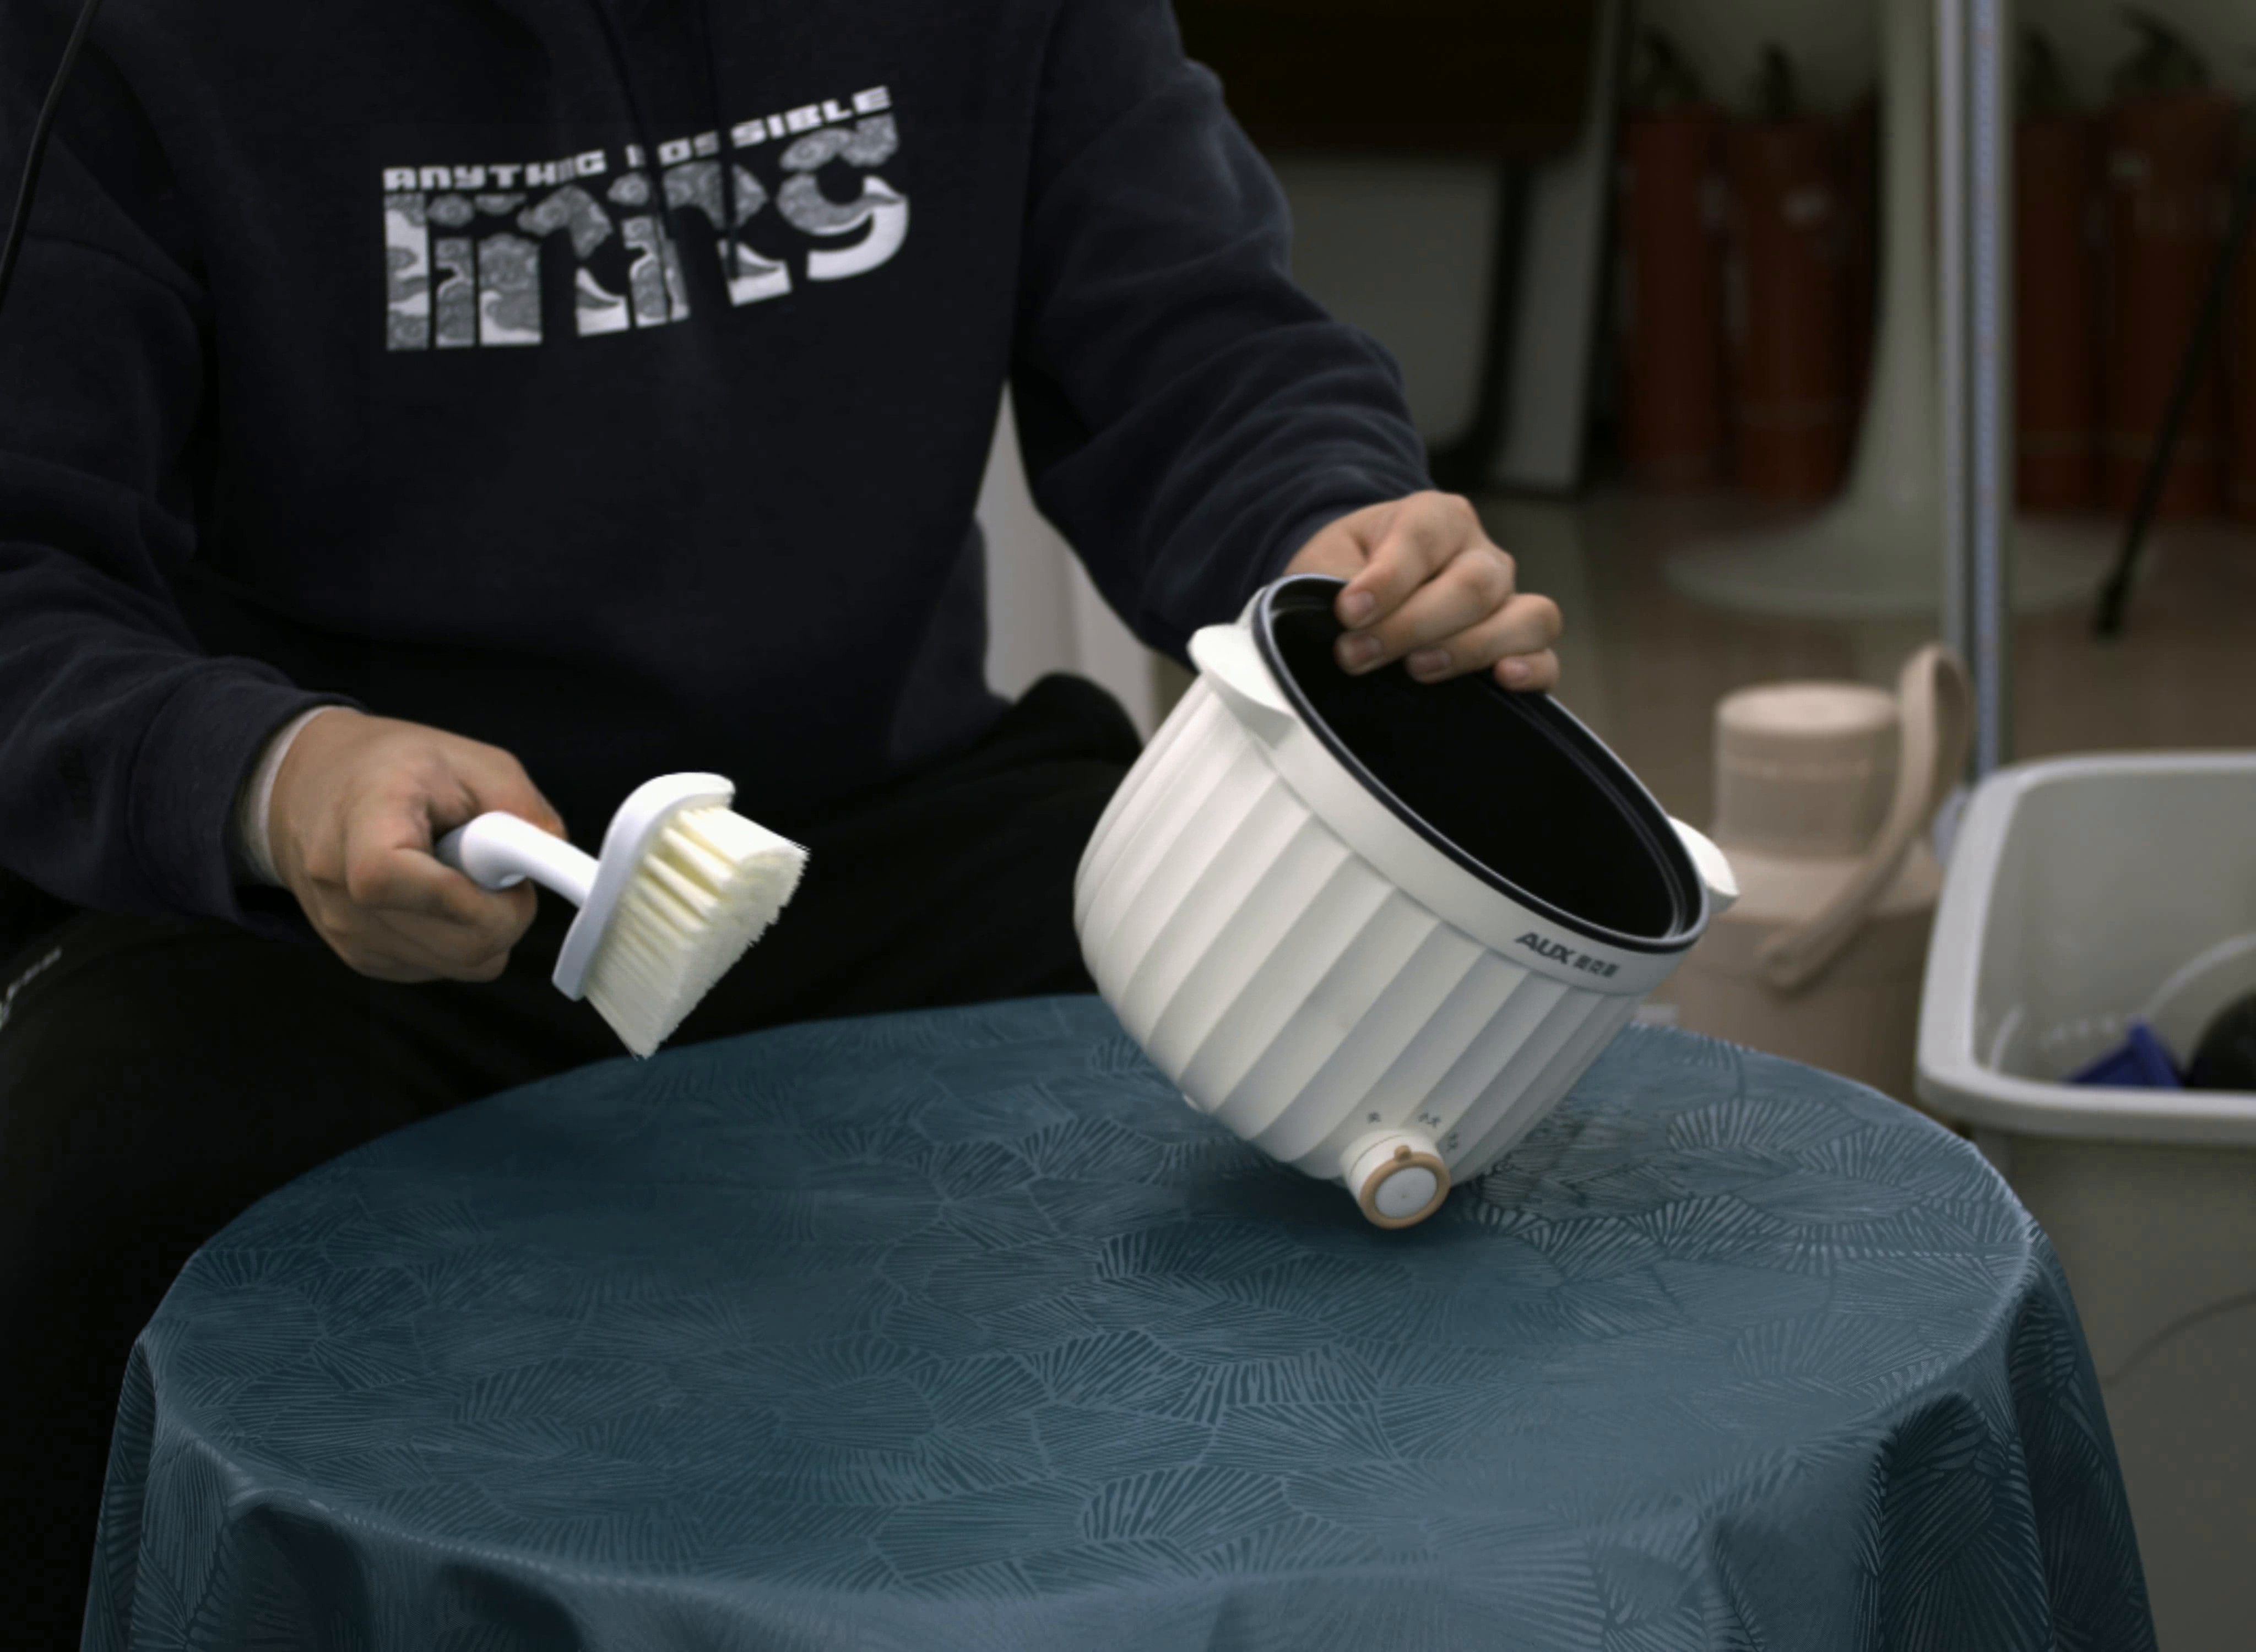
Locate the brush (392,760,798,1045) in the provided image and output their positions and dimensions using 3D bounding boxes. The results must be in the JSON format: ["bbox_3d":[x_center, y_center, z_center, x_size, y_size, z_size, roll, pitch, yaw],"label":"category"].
[{"bbox_3d":[-0.160,0.028,1.694,0.081,0.085,0.328,-9,-3,-19],"label":"brush"}]

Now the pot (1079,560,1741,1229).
[{"bbox_3d":[0.082,0.028,1.746,0.235,0.144,0.193,21,24,-35],"label":"pot"}]
